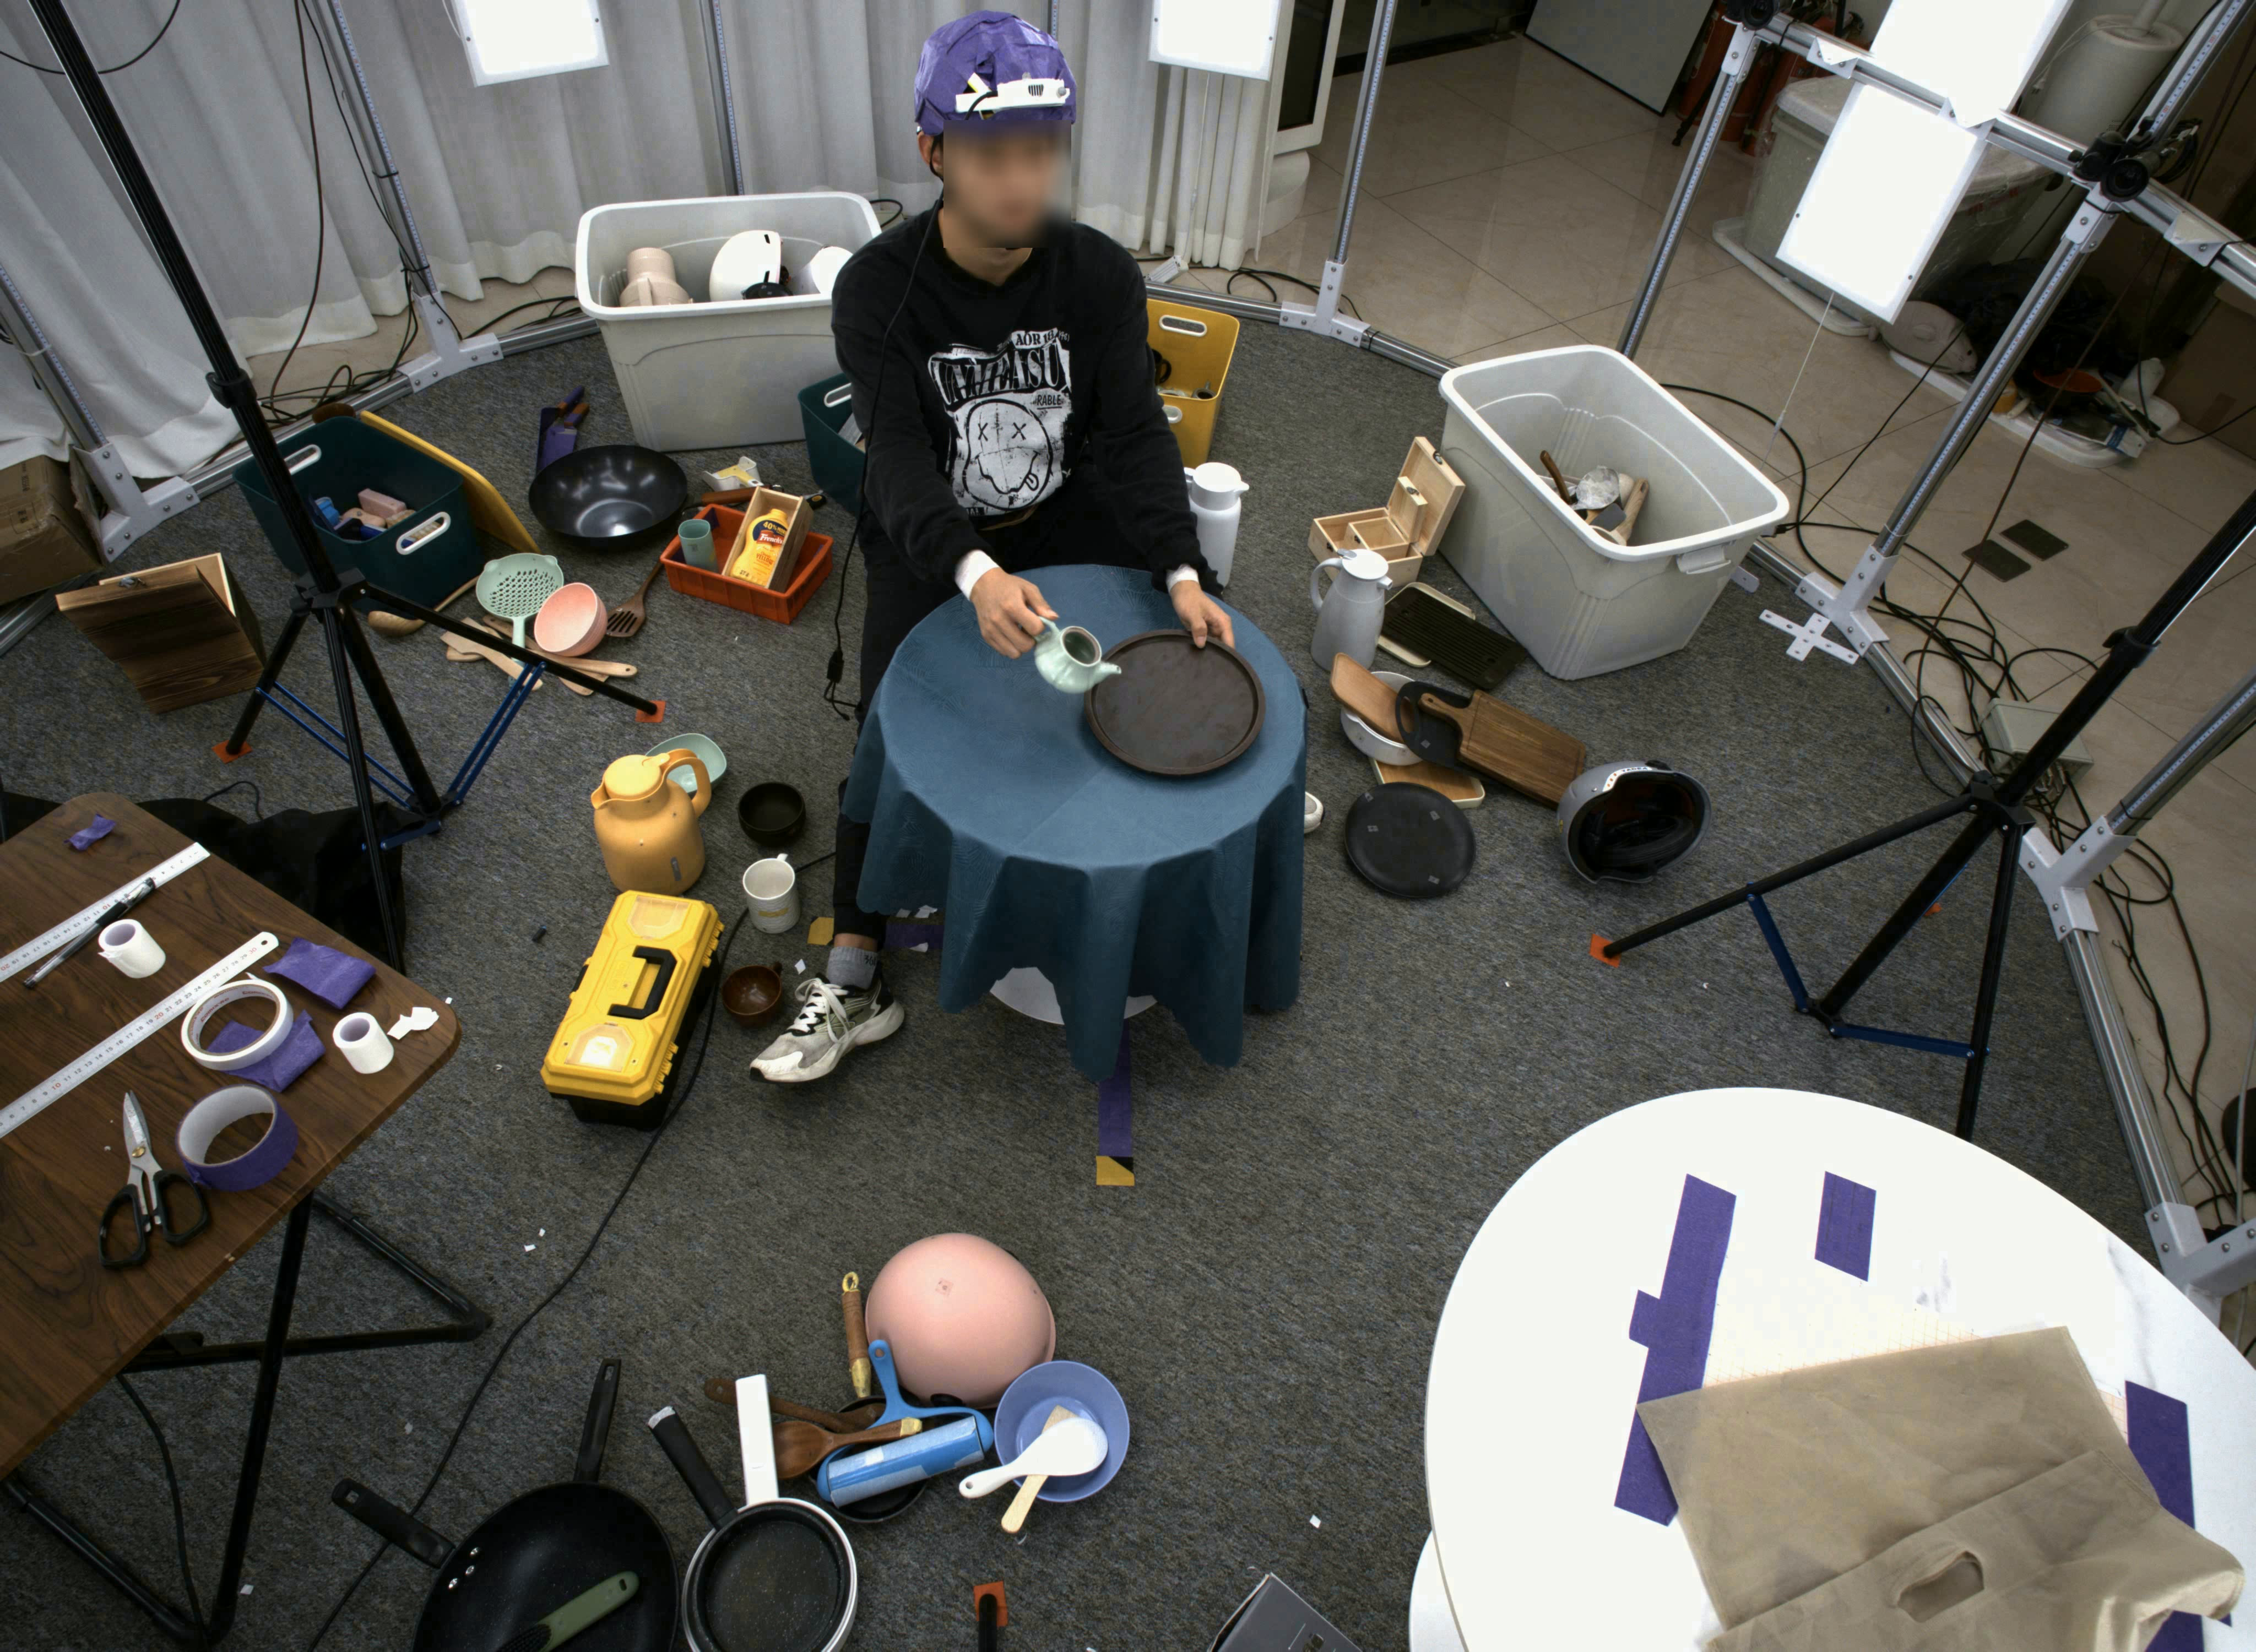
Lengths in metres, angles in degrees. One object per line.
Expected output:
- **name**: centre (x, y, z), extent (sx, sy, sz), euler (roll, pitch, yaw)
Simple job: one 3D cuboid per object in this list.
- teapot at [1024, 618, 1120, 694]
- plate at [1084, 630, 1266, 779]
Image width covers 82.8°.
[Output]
- **teapot**: centre (-0.082, -0.226, 1.694), extent (0.136, 0.060, 0.098), euler (31, 49, -15)
- **plate**: centre (0.065, -0.171, 1.786), extent (0.254, 0.028, 0.260), euler (0, 58, -1)
